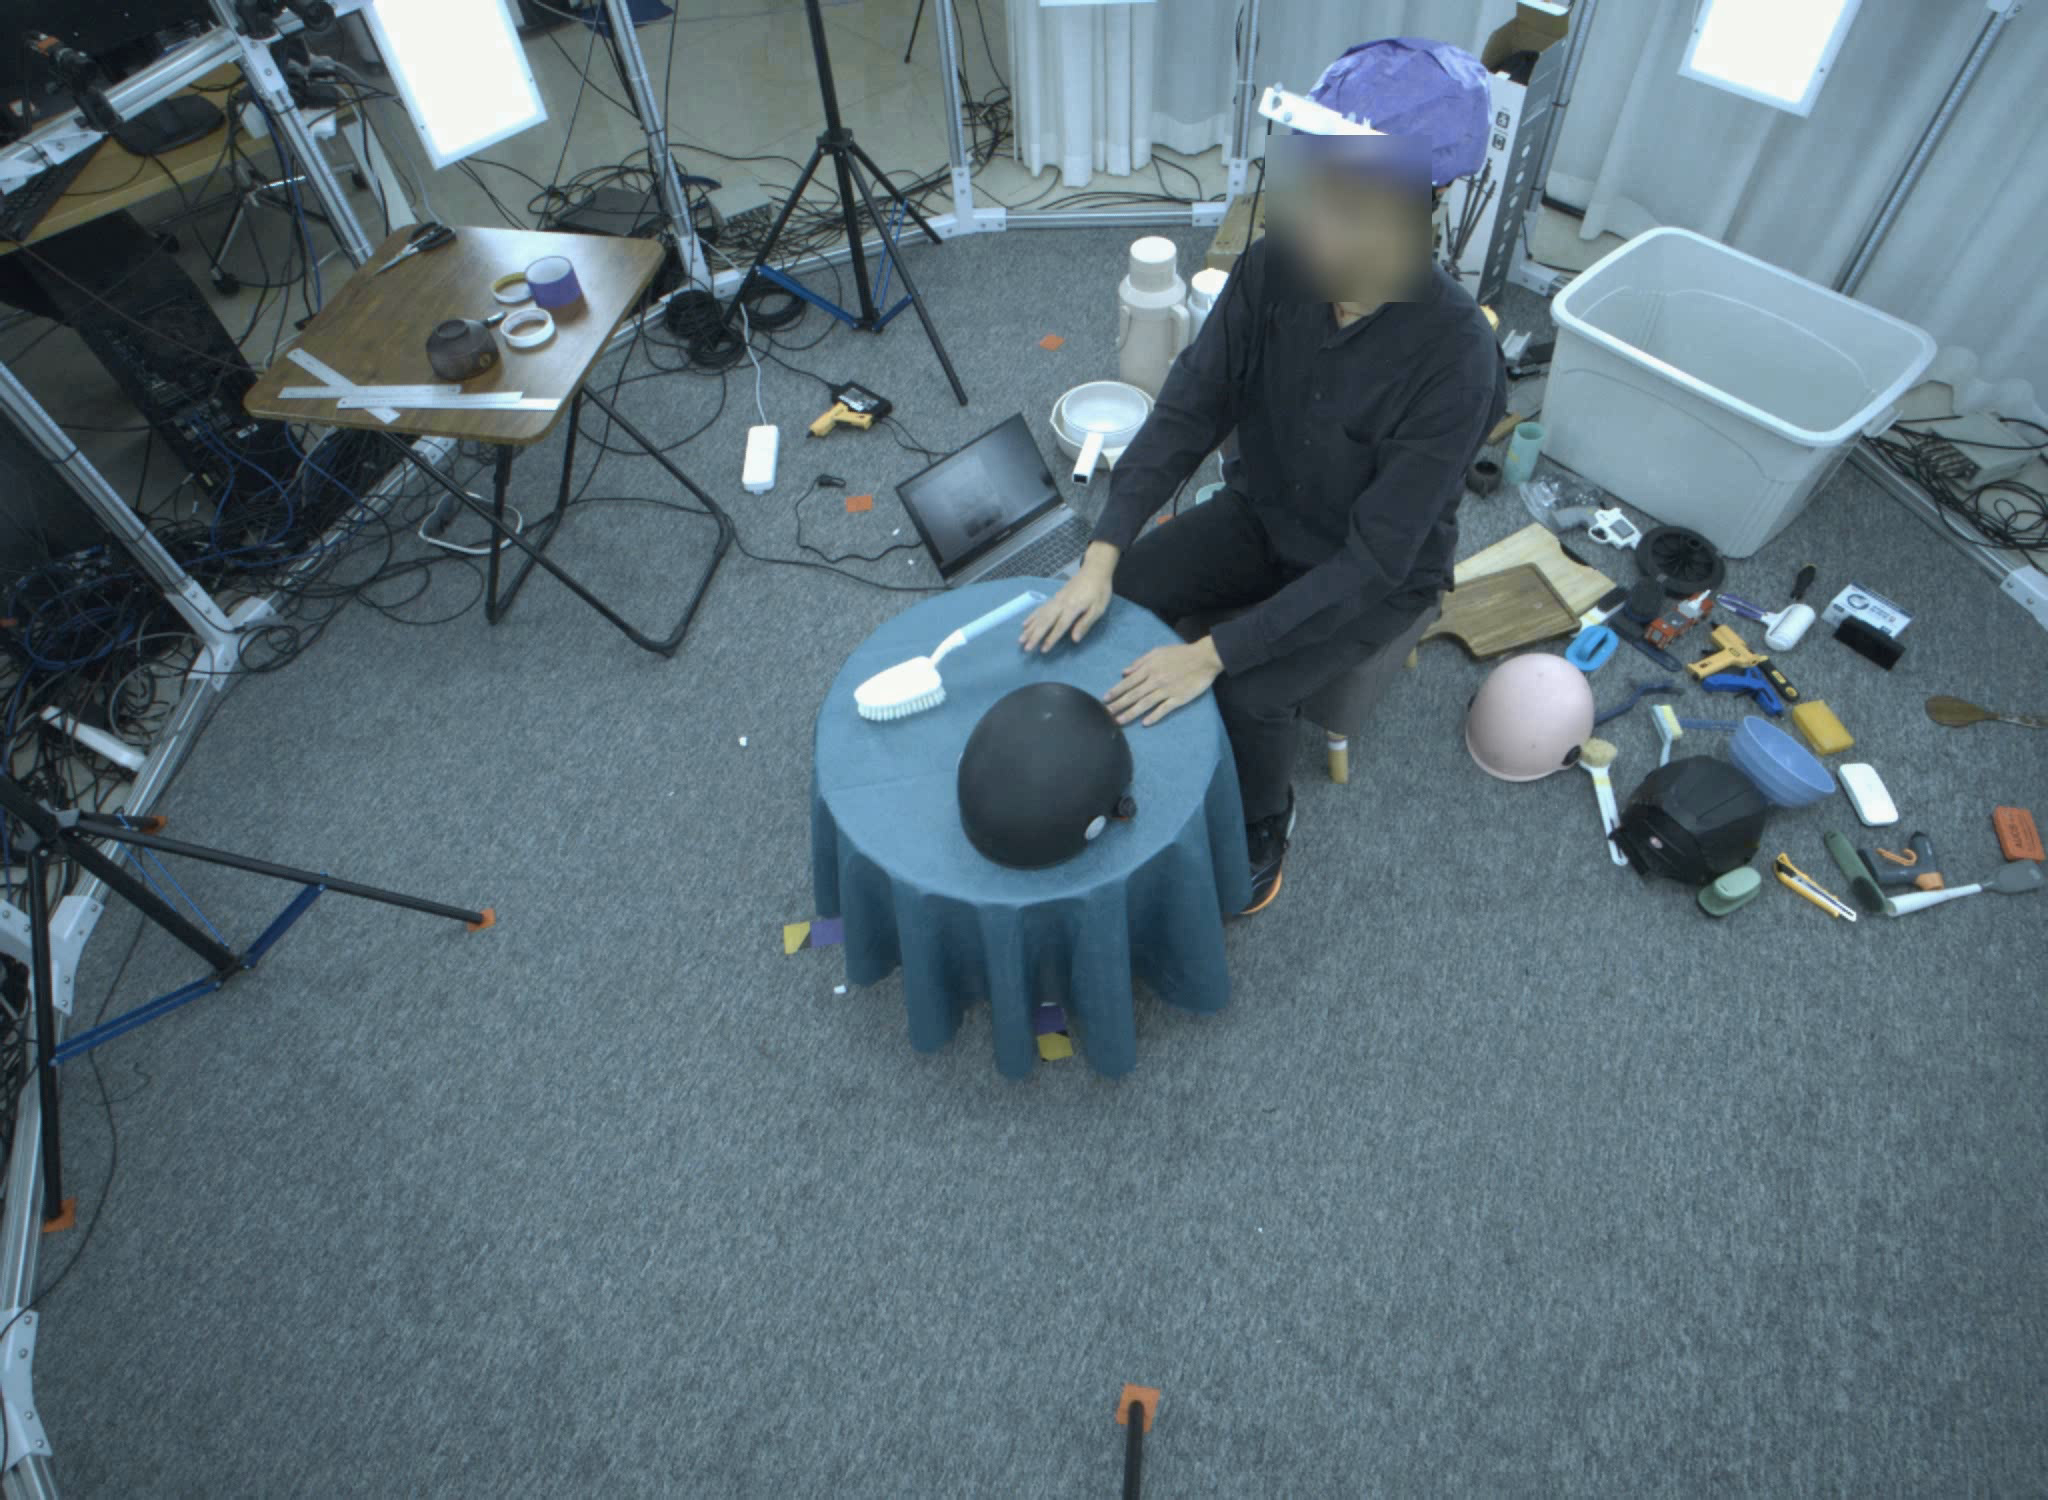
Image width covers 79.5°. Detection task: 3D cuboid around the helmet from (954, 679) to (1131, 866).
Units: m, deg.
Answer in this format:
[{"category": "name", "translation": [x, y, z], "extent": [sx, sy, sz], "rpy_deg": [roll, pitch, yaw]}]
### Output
[{"category": "helmet", "translation": [0.019, 0.011, 1.682], "extent": [0.226, 0.169, 0.274], "rpy_deg": [27, 62, 23]}]

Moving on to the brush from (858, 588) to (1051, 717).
[{"category": "brush", "translation": [-0.096, -0.136, 1.836], "extent": [0.326, 0.084, 0.083], "rpy_deg": [-29, 94, -3]}]
